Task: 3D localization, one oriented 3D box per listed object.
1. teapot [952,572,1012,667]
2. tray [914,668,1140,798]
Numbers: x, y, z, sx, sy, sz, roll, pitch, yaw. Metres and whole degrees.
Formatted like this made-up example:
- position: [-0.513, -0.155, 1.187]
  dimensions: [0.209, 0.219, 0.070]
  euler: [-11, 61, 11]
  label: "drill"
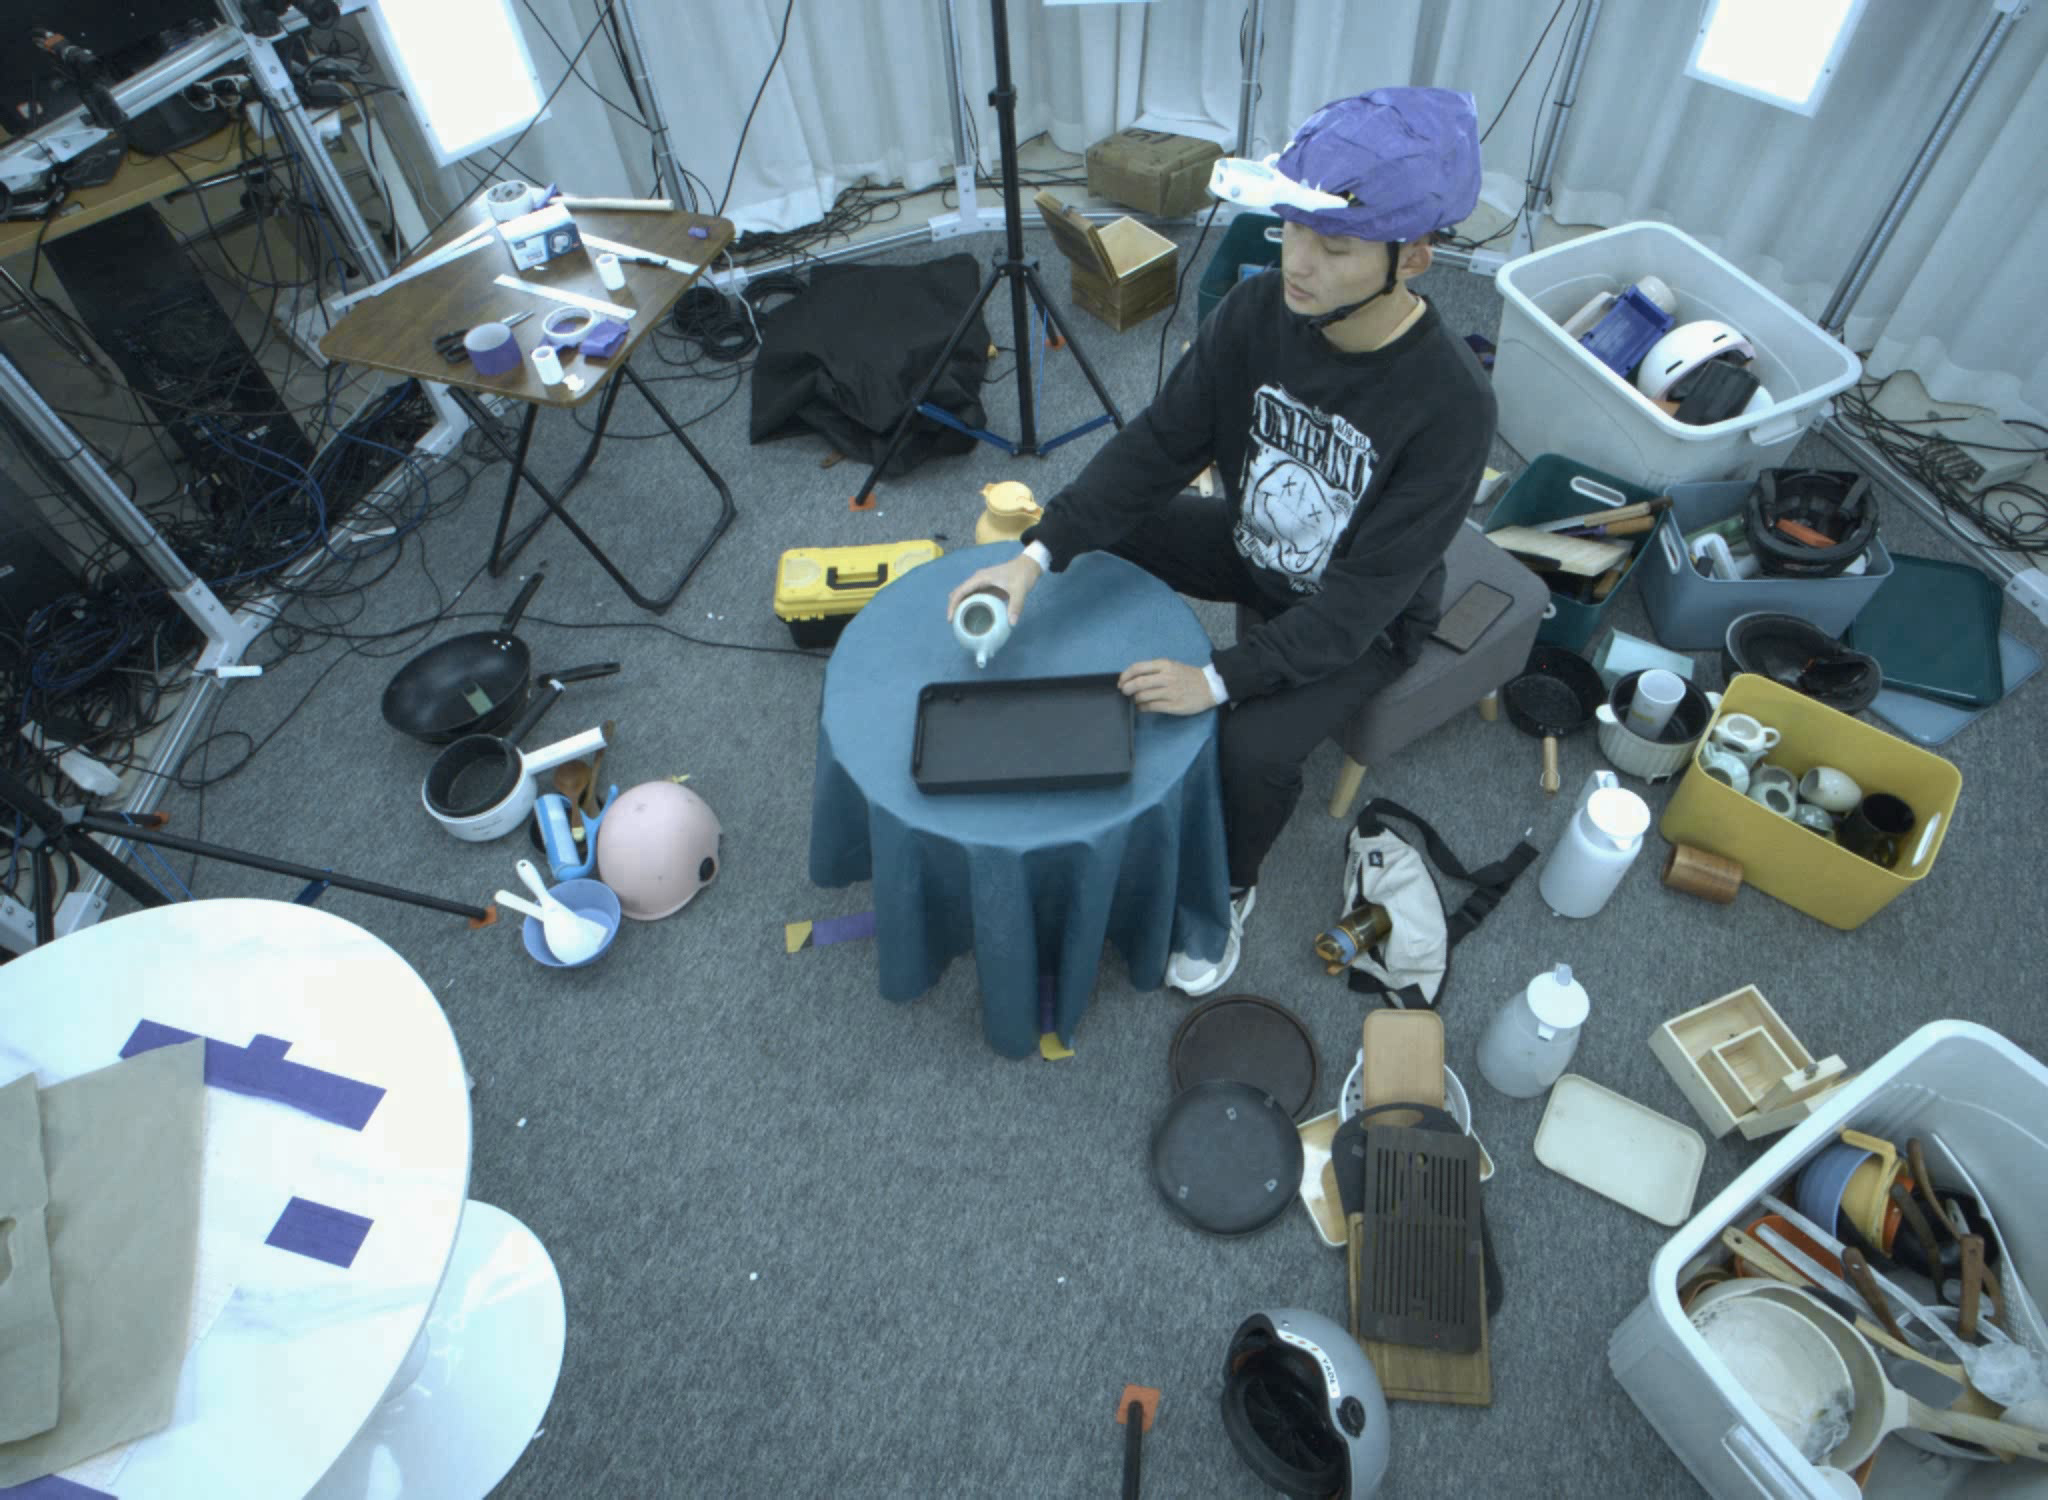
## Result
- position: [-0.063, -0.188, 1.807]
  dimensions: [0.088, 0.075, 0.143]
  euler: [-6, 85, 11]
  label: "teapot"
- position: [0.005, -0.025, 1.765]
  dimensions: [0.317, 0.037, 0.182]
  euler: [-5, 53, 4]
  label: "tray"
